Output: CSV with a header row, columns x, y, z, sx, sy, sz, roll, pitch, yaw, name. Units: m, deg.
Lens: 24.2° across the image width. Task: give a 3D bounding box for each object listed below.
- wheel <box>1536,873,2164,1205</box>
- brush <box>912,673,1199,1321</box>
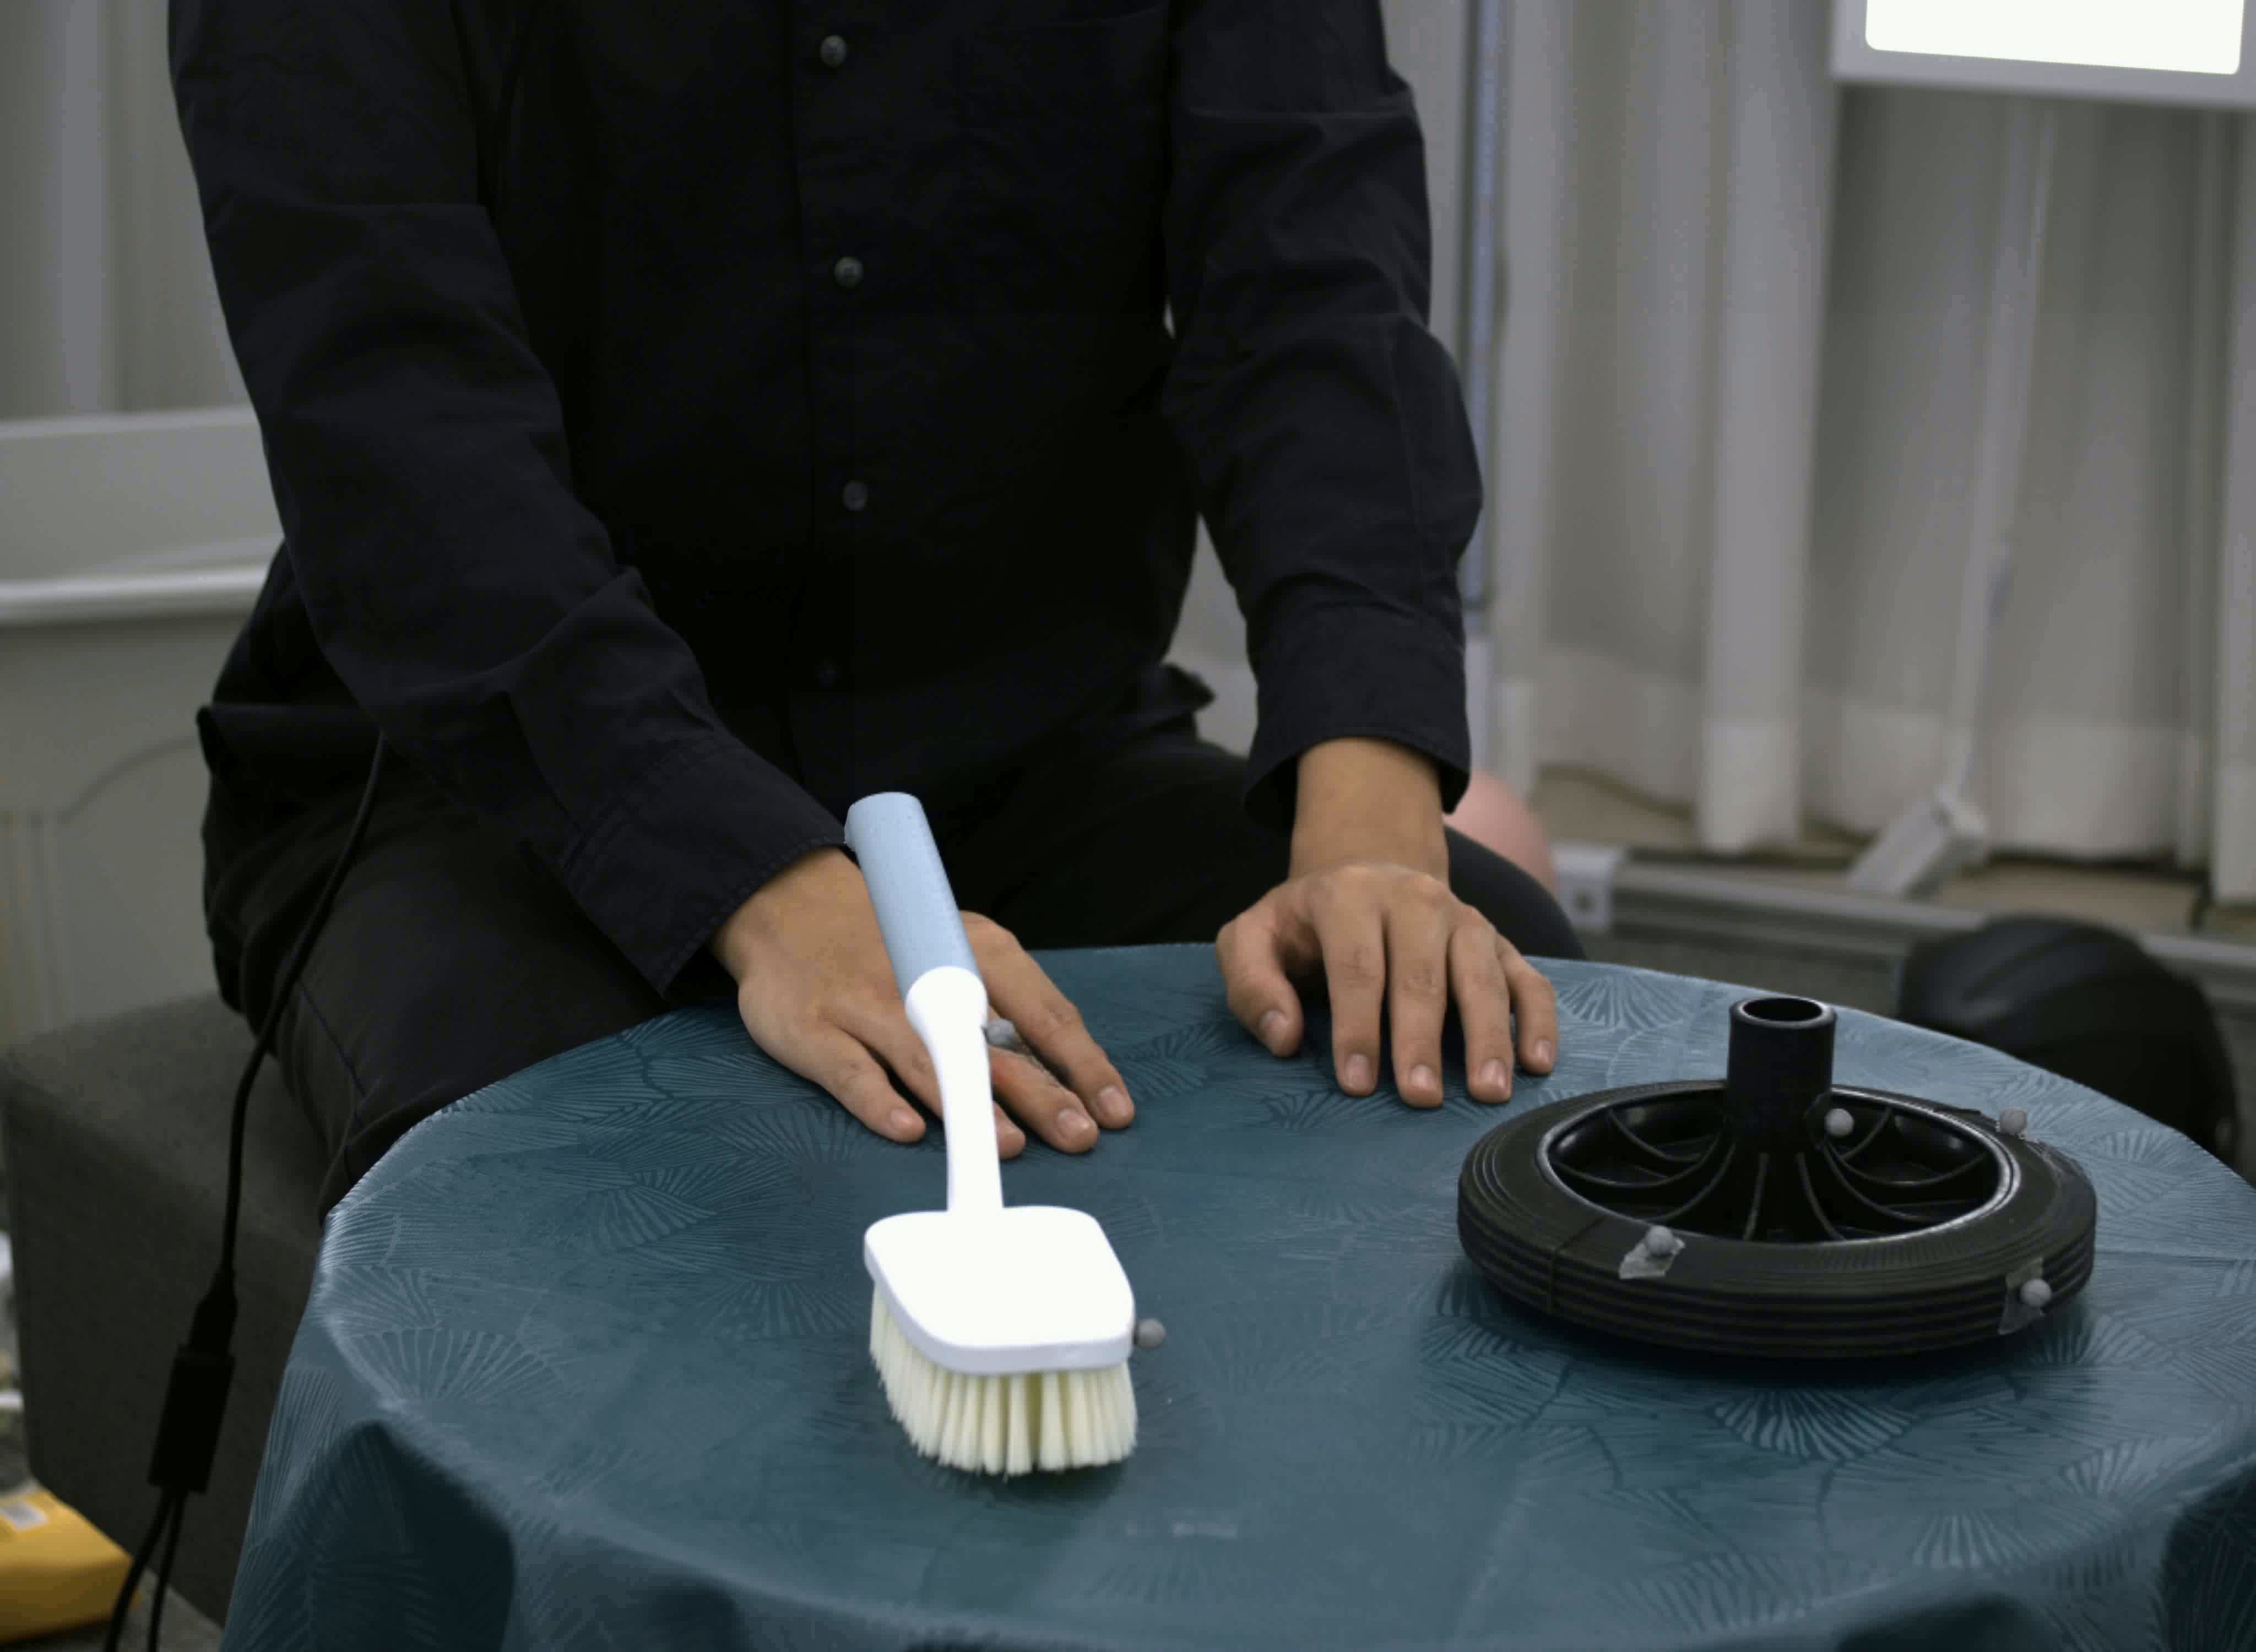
x,y,z,sx,sy,sz,roll,pitch,yaw,name
0.218,0.056,1.596,0.188,0.080,0.187,3,16,16,wheel
-0.028,0.062,1.565,0.084,0.084,0.322,34,16,-25,brush
